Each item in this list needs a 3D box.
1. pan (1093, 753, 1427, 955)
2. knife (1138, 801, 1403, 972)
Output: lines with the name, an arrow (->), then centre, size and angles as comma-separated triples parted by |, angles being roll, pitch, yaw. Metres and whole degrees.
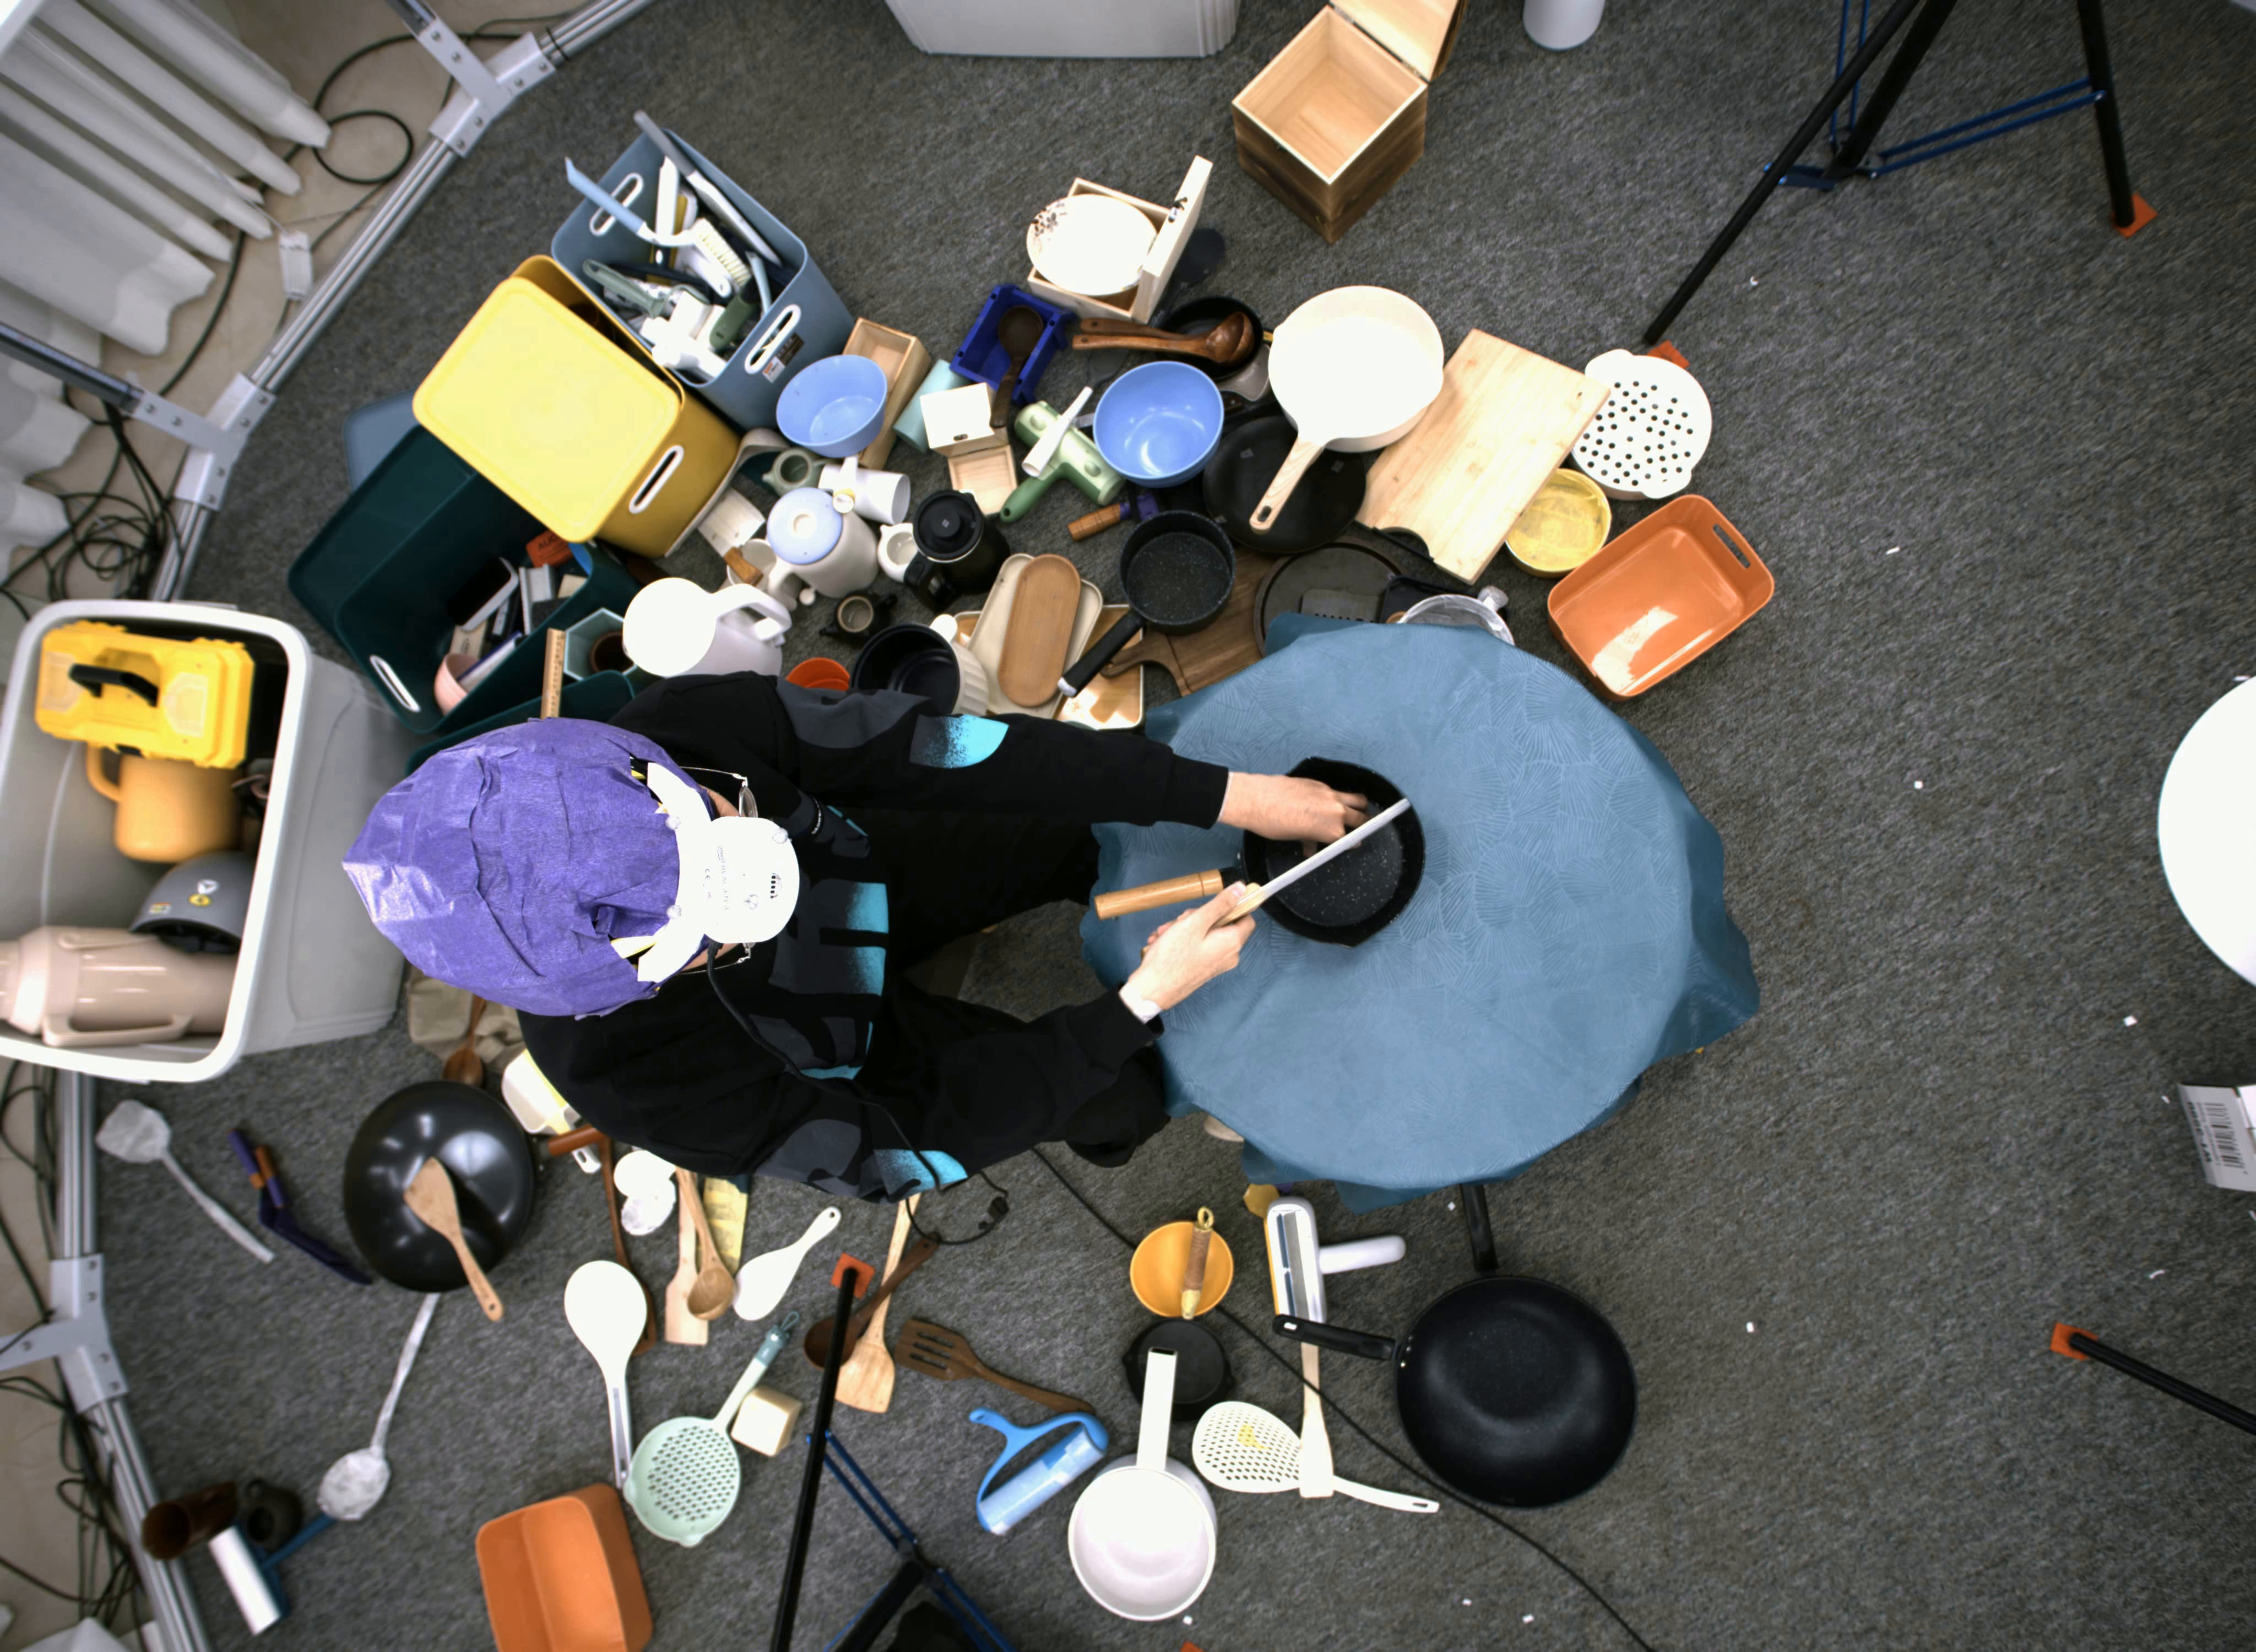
pan -> 0.136, 0.049, 1.431 | 0.344, 0.108, 0.206 | -16, 85, 8
knife -> 0.143, 0.055, 1.341 | 0.312, 0.116, 0.021 | -29, 78, -17
